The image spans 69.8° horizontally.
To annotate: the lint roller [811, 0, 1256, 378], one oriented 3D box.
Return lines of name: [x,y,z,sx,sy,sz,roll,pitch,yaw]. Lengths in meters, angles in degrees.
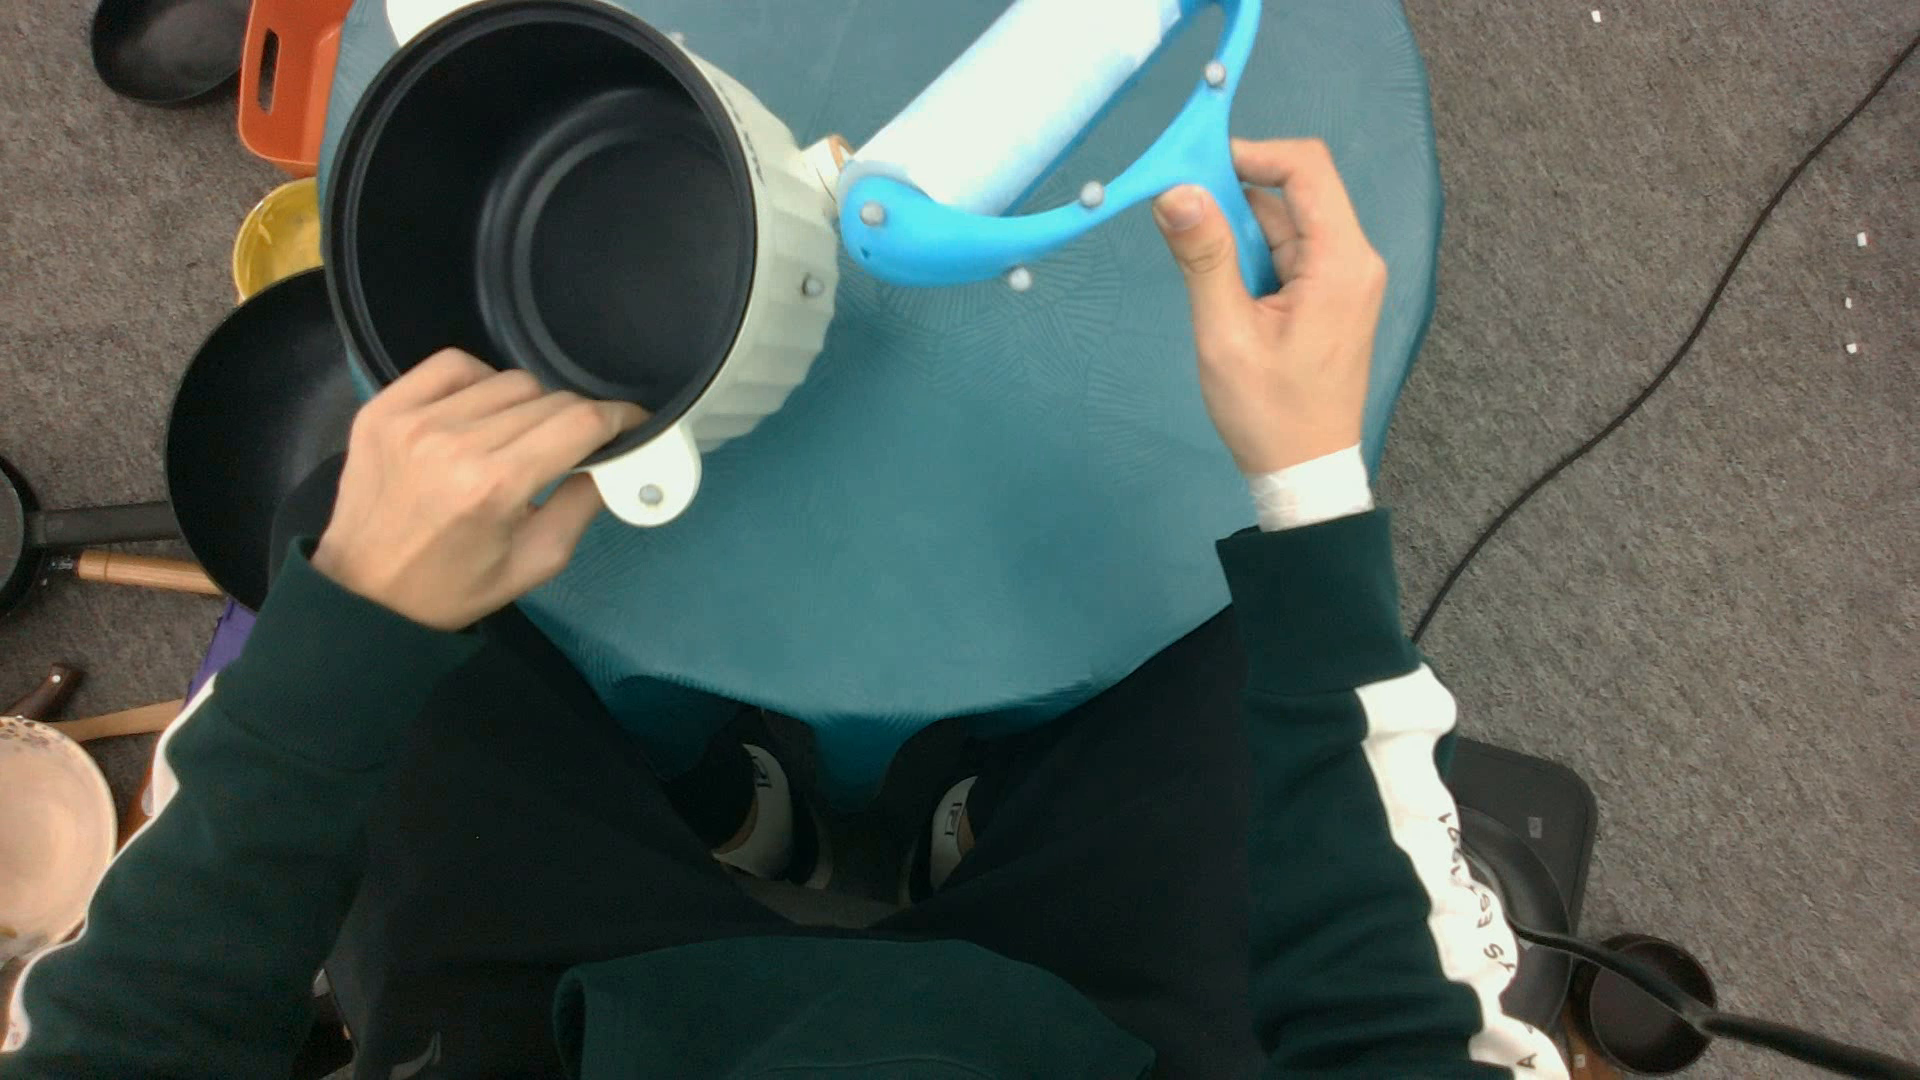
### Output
lint roller: [0.064,-0.139,0.533,0.180,0.067,0.230,40,58,-11]

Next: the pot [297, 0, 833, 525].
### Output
pot: [-0.152,-0.124,0.585,0.190,0.143,0.240,-27,89,17]
